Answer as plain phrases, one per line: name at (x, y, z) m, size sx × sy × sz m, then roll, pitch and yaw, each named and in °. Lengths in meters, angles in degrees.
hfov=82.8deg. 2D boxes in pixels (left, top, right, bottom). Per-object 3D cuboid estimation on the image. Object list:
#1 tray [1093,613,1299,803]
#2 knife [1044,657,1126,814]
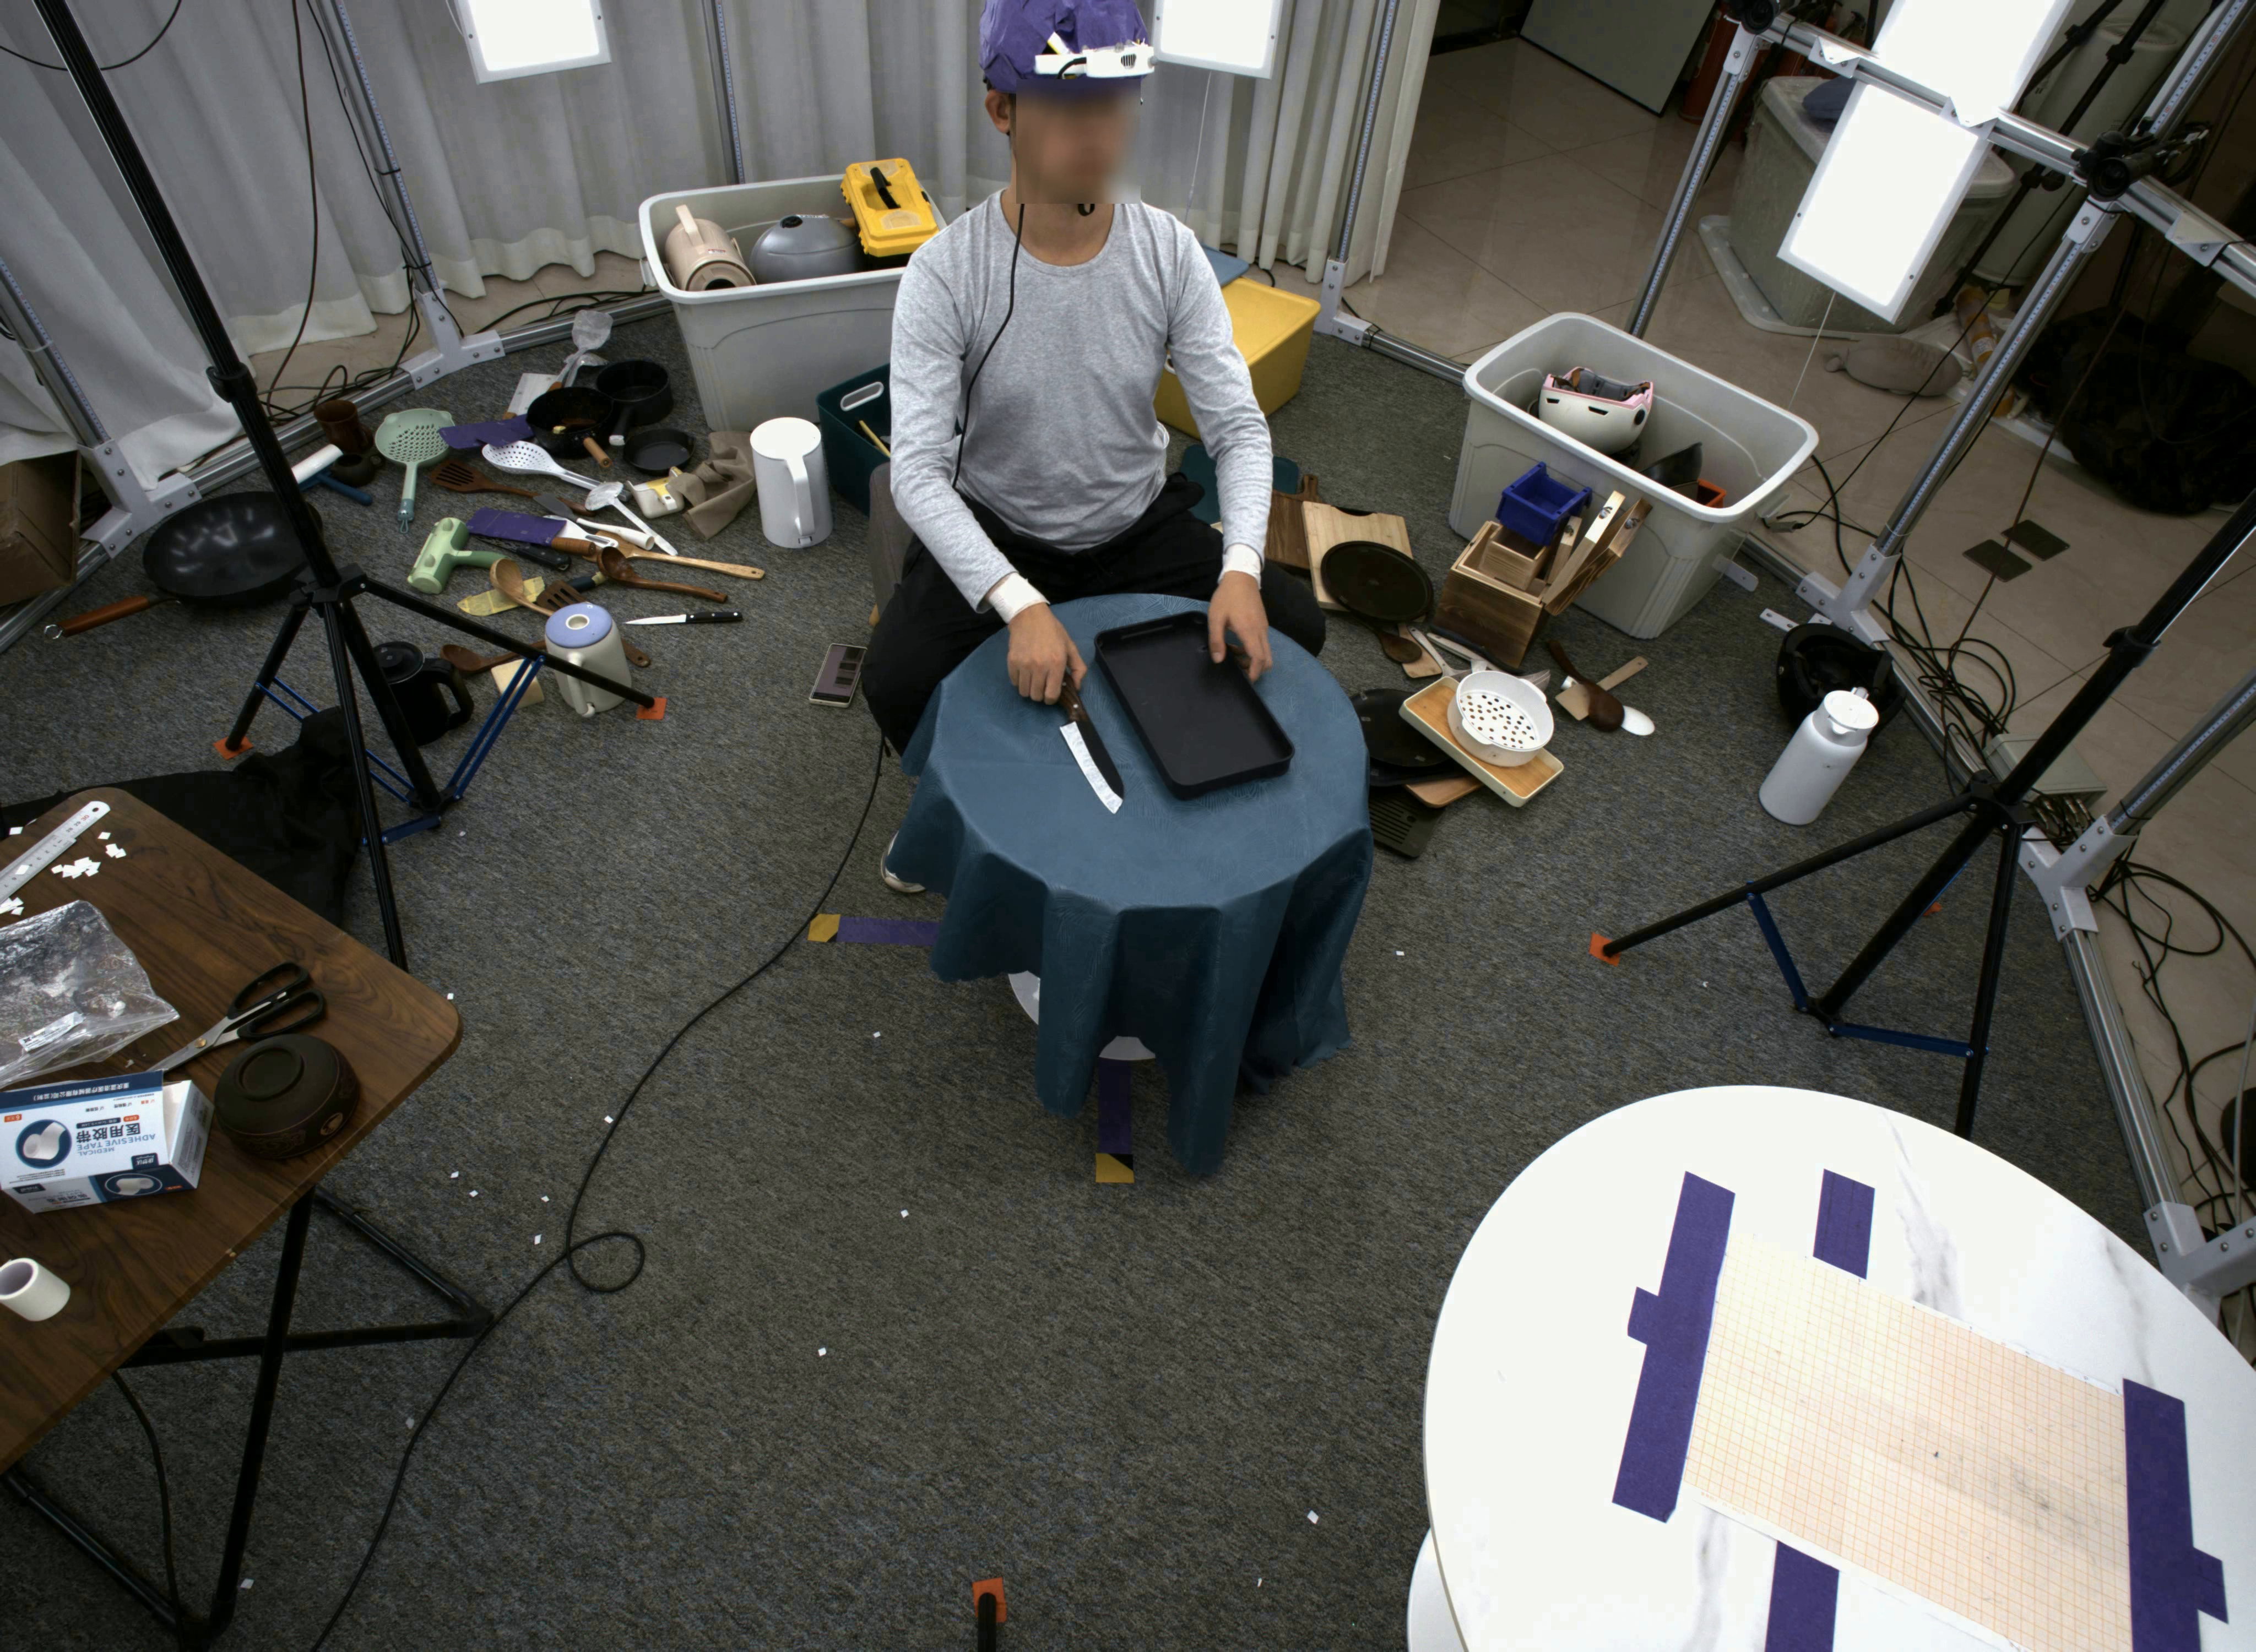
tray at (0.089, -0.172, 1.800) m, size 0.184 × 0.036 × 0.325 m, roll -16°, pitch 52°, yaw -17°
knife at (-0.062, -0.128, 1.763) m, size 0.050 × 0.019 × 0.296 m, roll -20°, pitch 55°, yaw -6°
